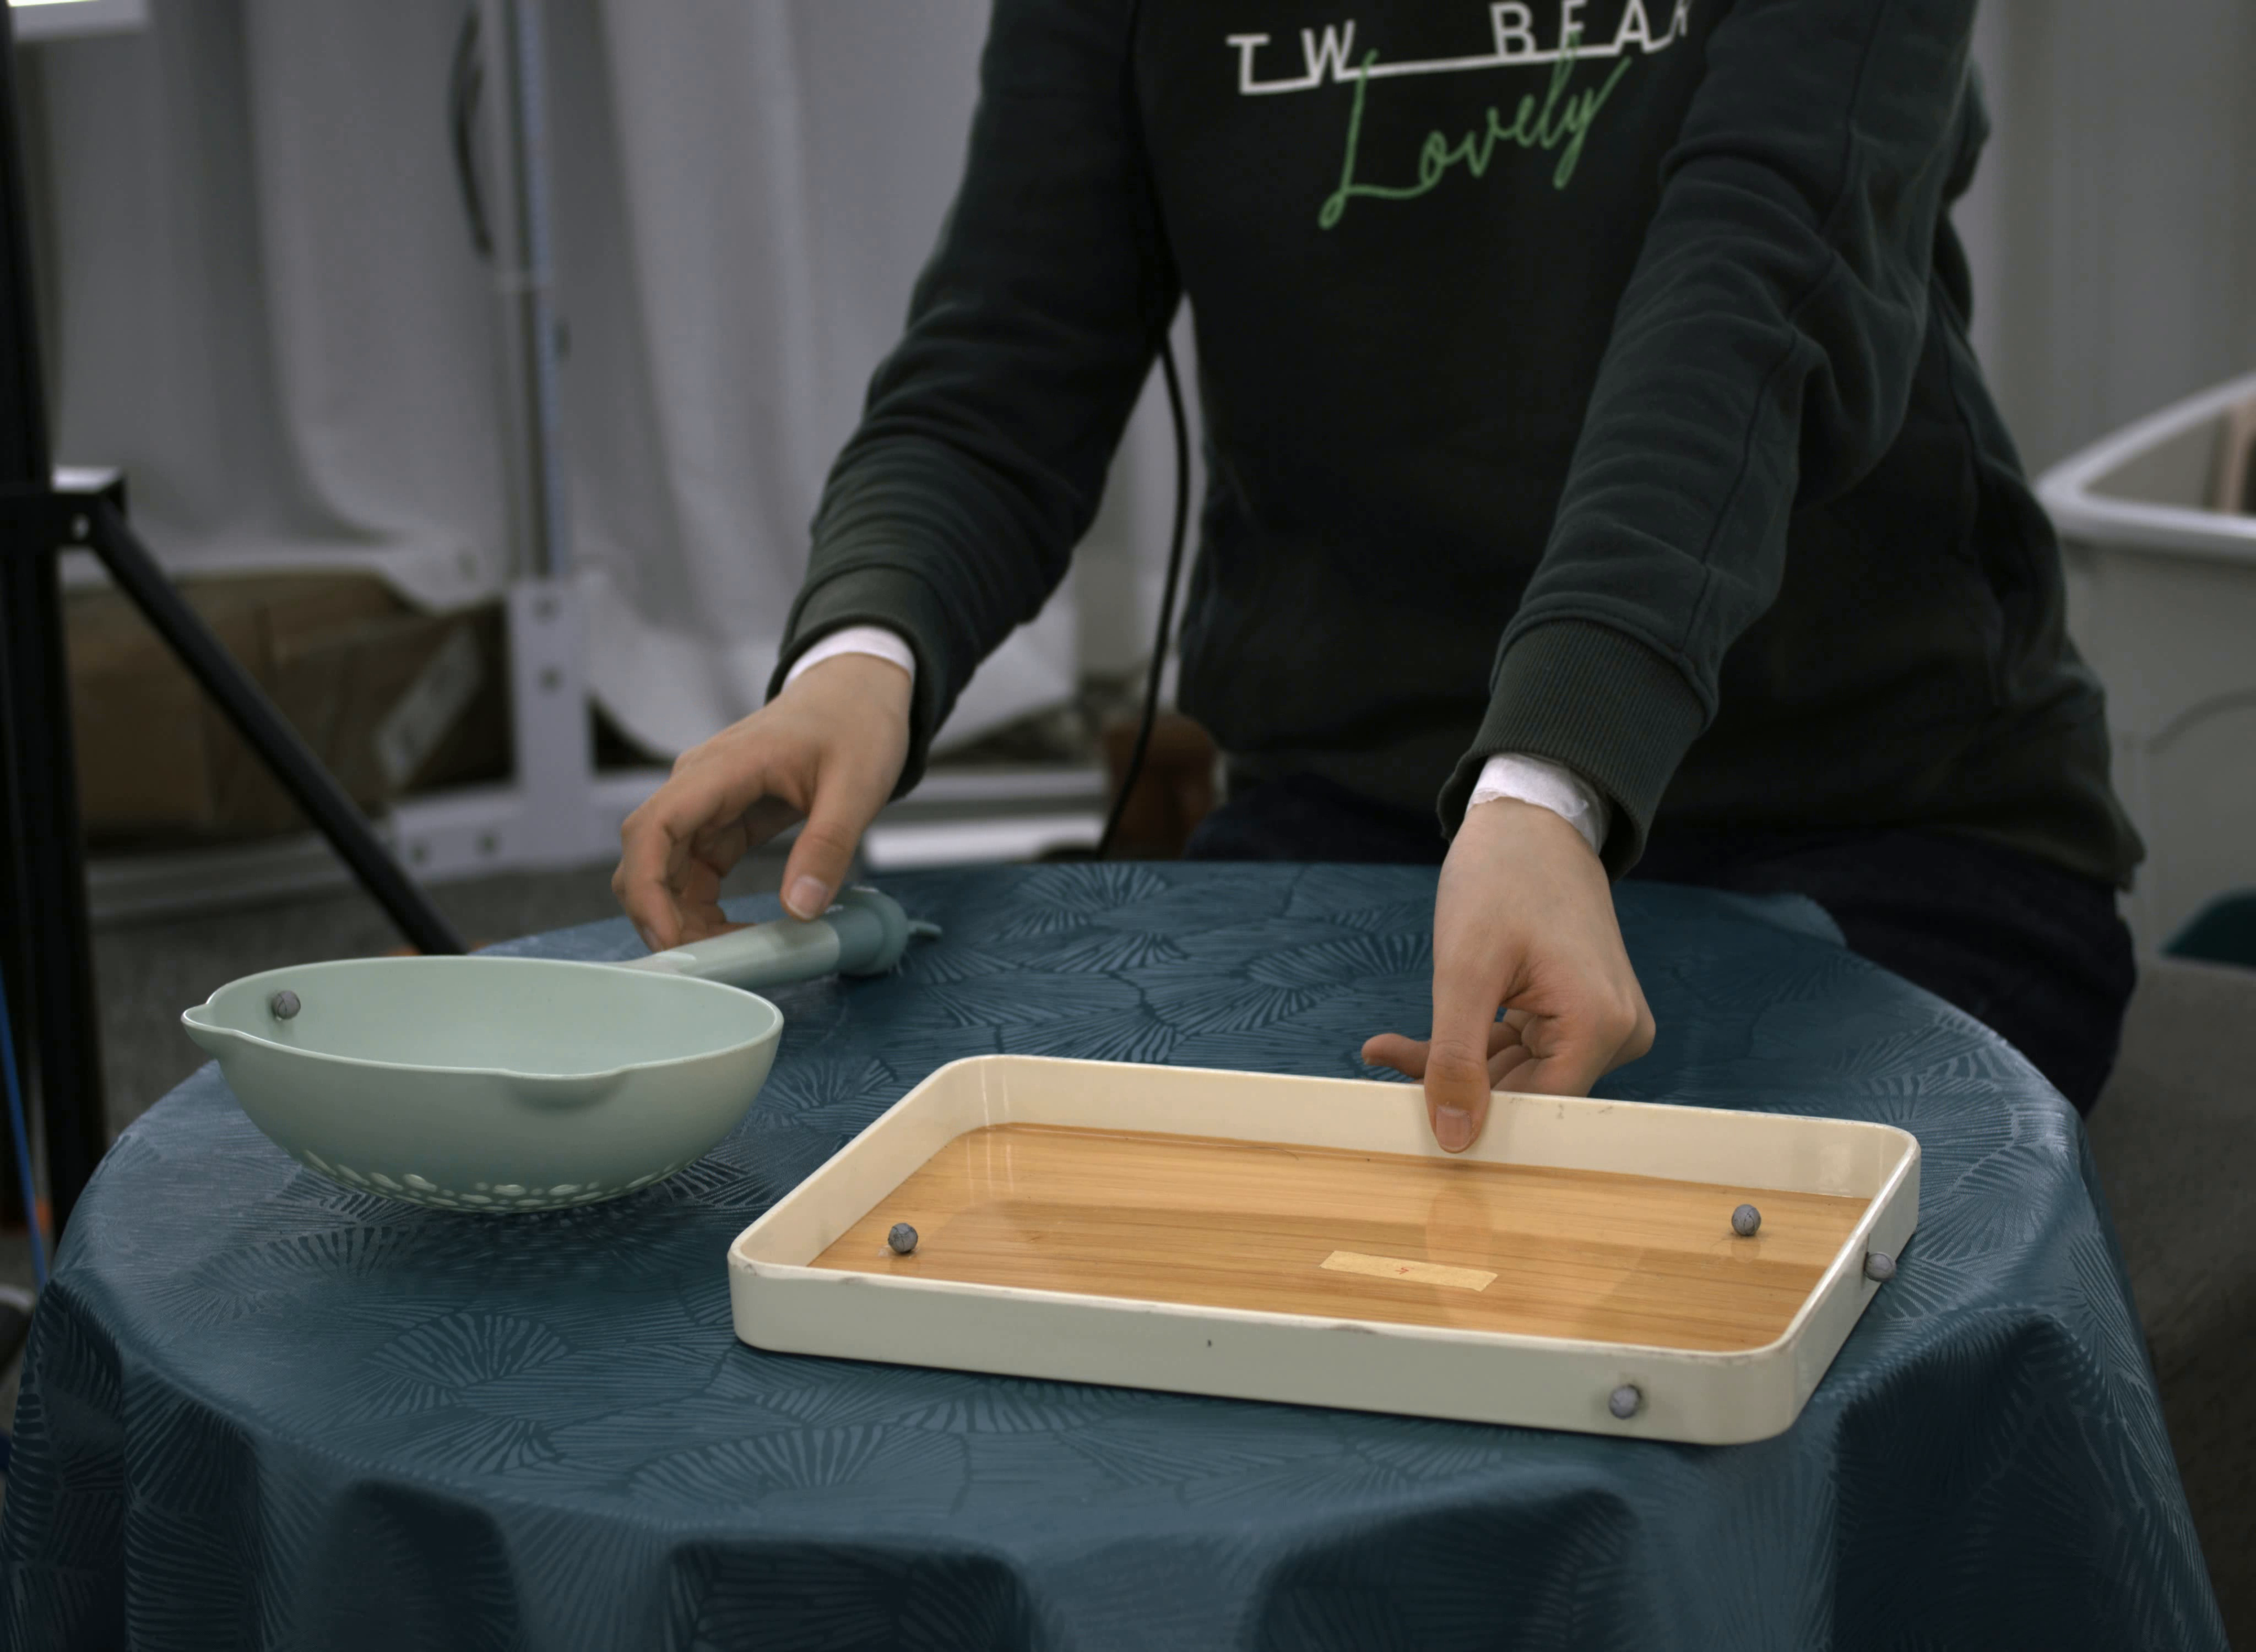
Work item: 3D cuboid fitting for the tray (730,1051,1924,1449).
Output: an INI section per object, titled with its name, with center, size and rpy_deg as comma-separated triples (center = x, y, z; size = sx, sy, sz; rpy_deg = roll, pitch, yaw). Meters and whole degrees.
[tray]
center = 0.058, 0.115, 1.476
size = 0.304, 0.027, 0.189
rpy_deg = 4, 17, 21

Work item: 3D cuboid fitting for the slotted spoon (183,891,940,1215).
[slotted spoon]
center = -0.145, 0.054, 1.655
size = 0.172, 0.075, 0.353
rpy_deg = 7, 18, 24
